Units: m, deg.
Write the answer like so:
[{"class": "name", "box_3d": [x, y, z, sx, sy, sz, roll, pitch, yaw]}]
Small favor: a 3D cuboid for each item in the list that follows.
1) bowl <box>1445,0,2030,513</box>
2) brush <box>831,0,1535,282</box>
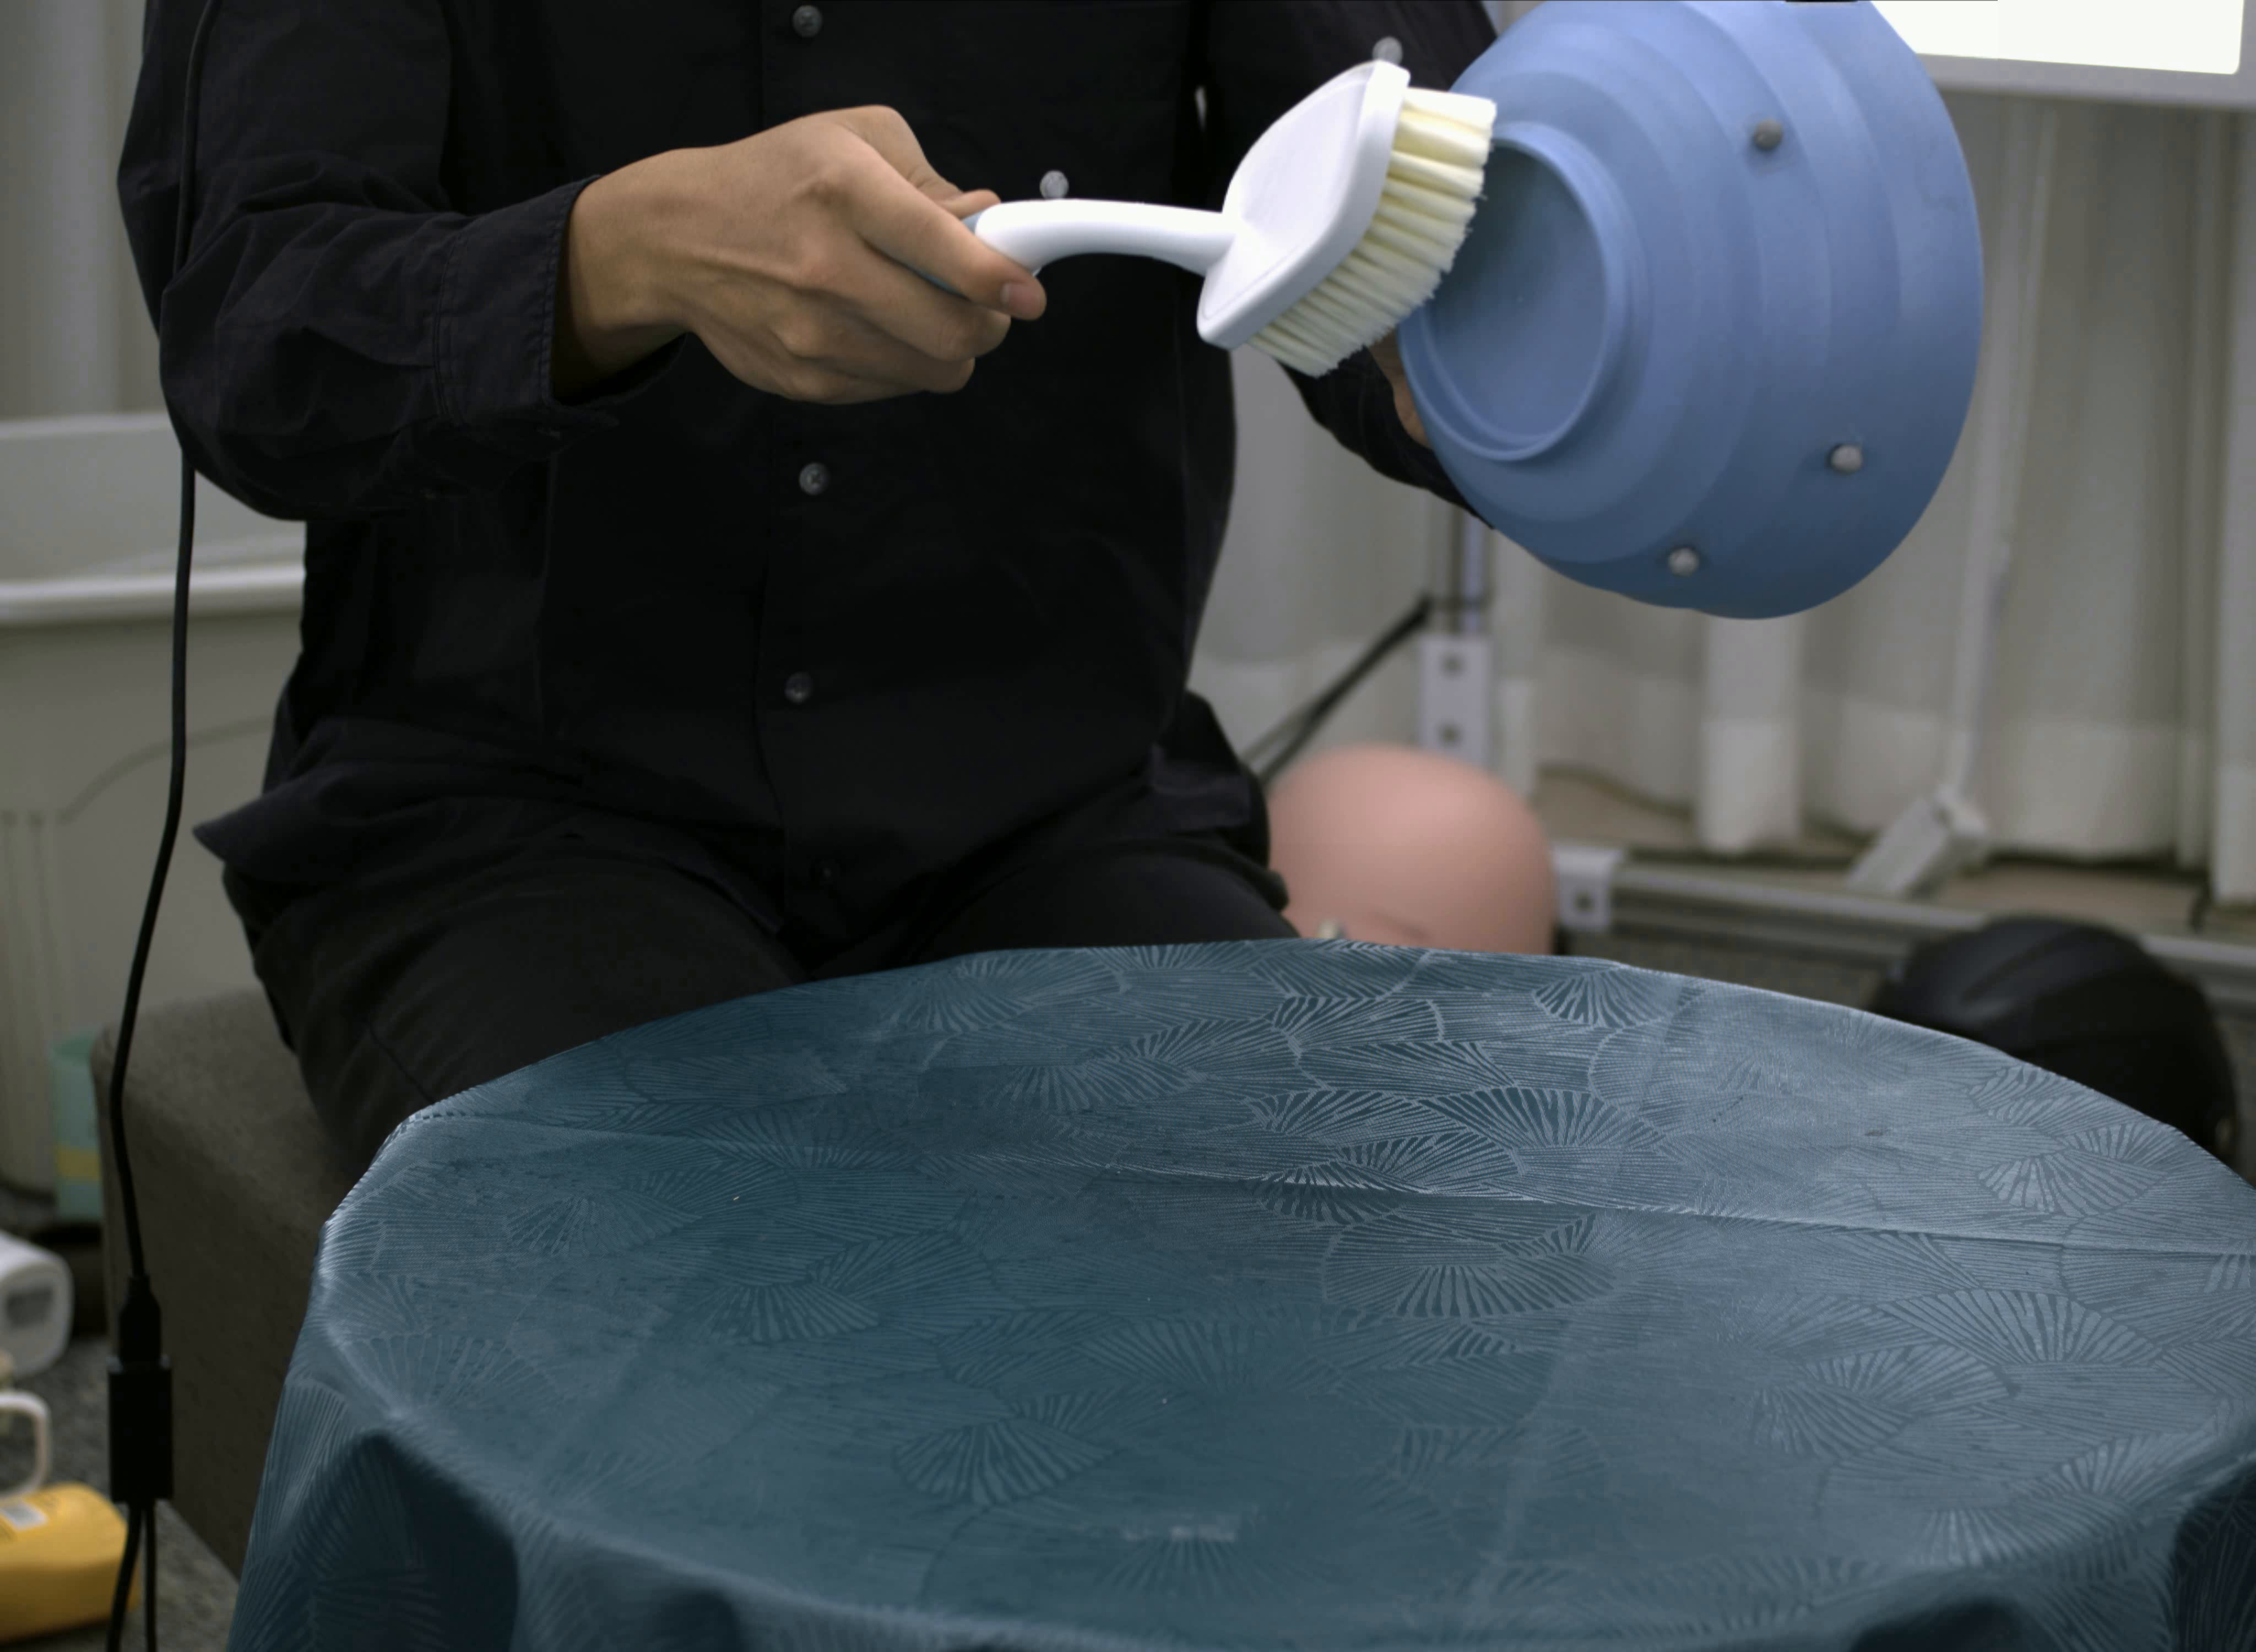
[{"class": "bowl", "box_3d": [0.157, -0.186, 1.525, 0.096, 0.198, 0.194, -9, 19, -38]}, {"class": "brush", "box_3d": [0.026, -0.202, 1.604, 0.083, 0.085, 0.323, -41, 16, -32]}]
